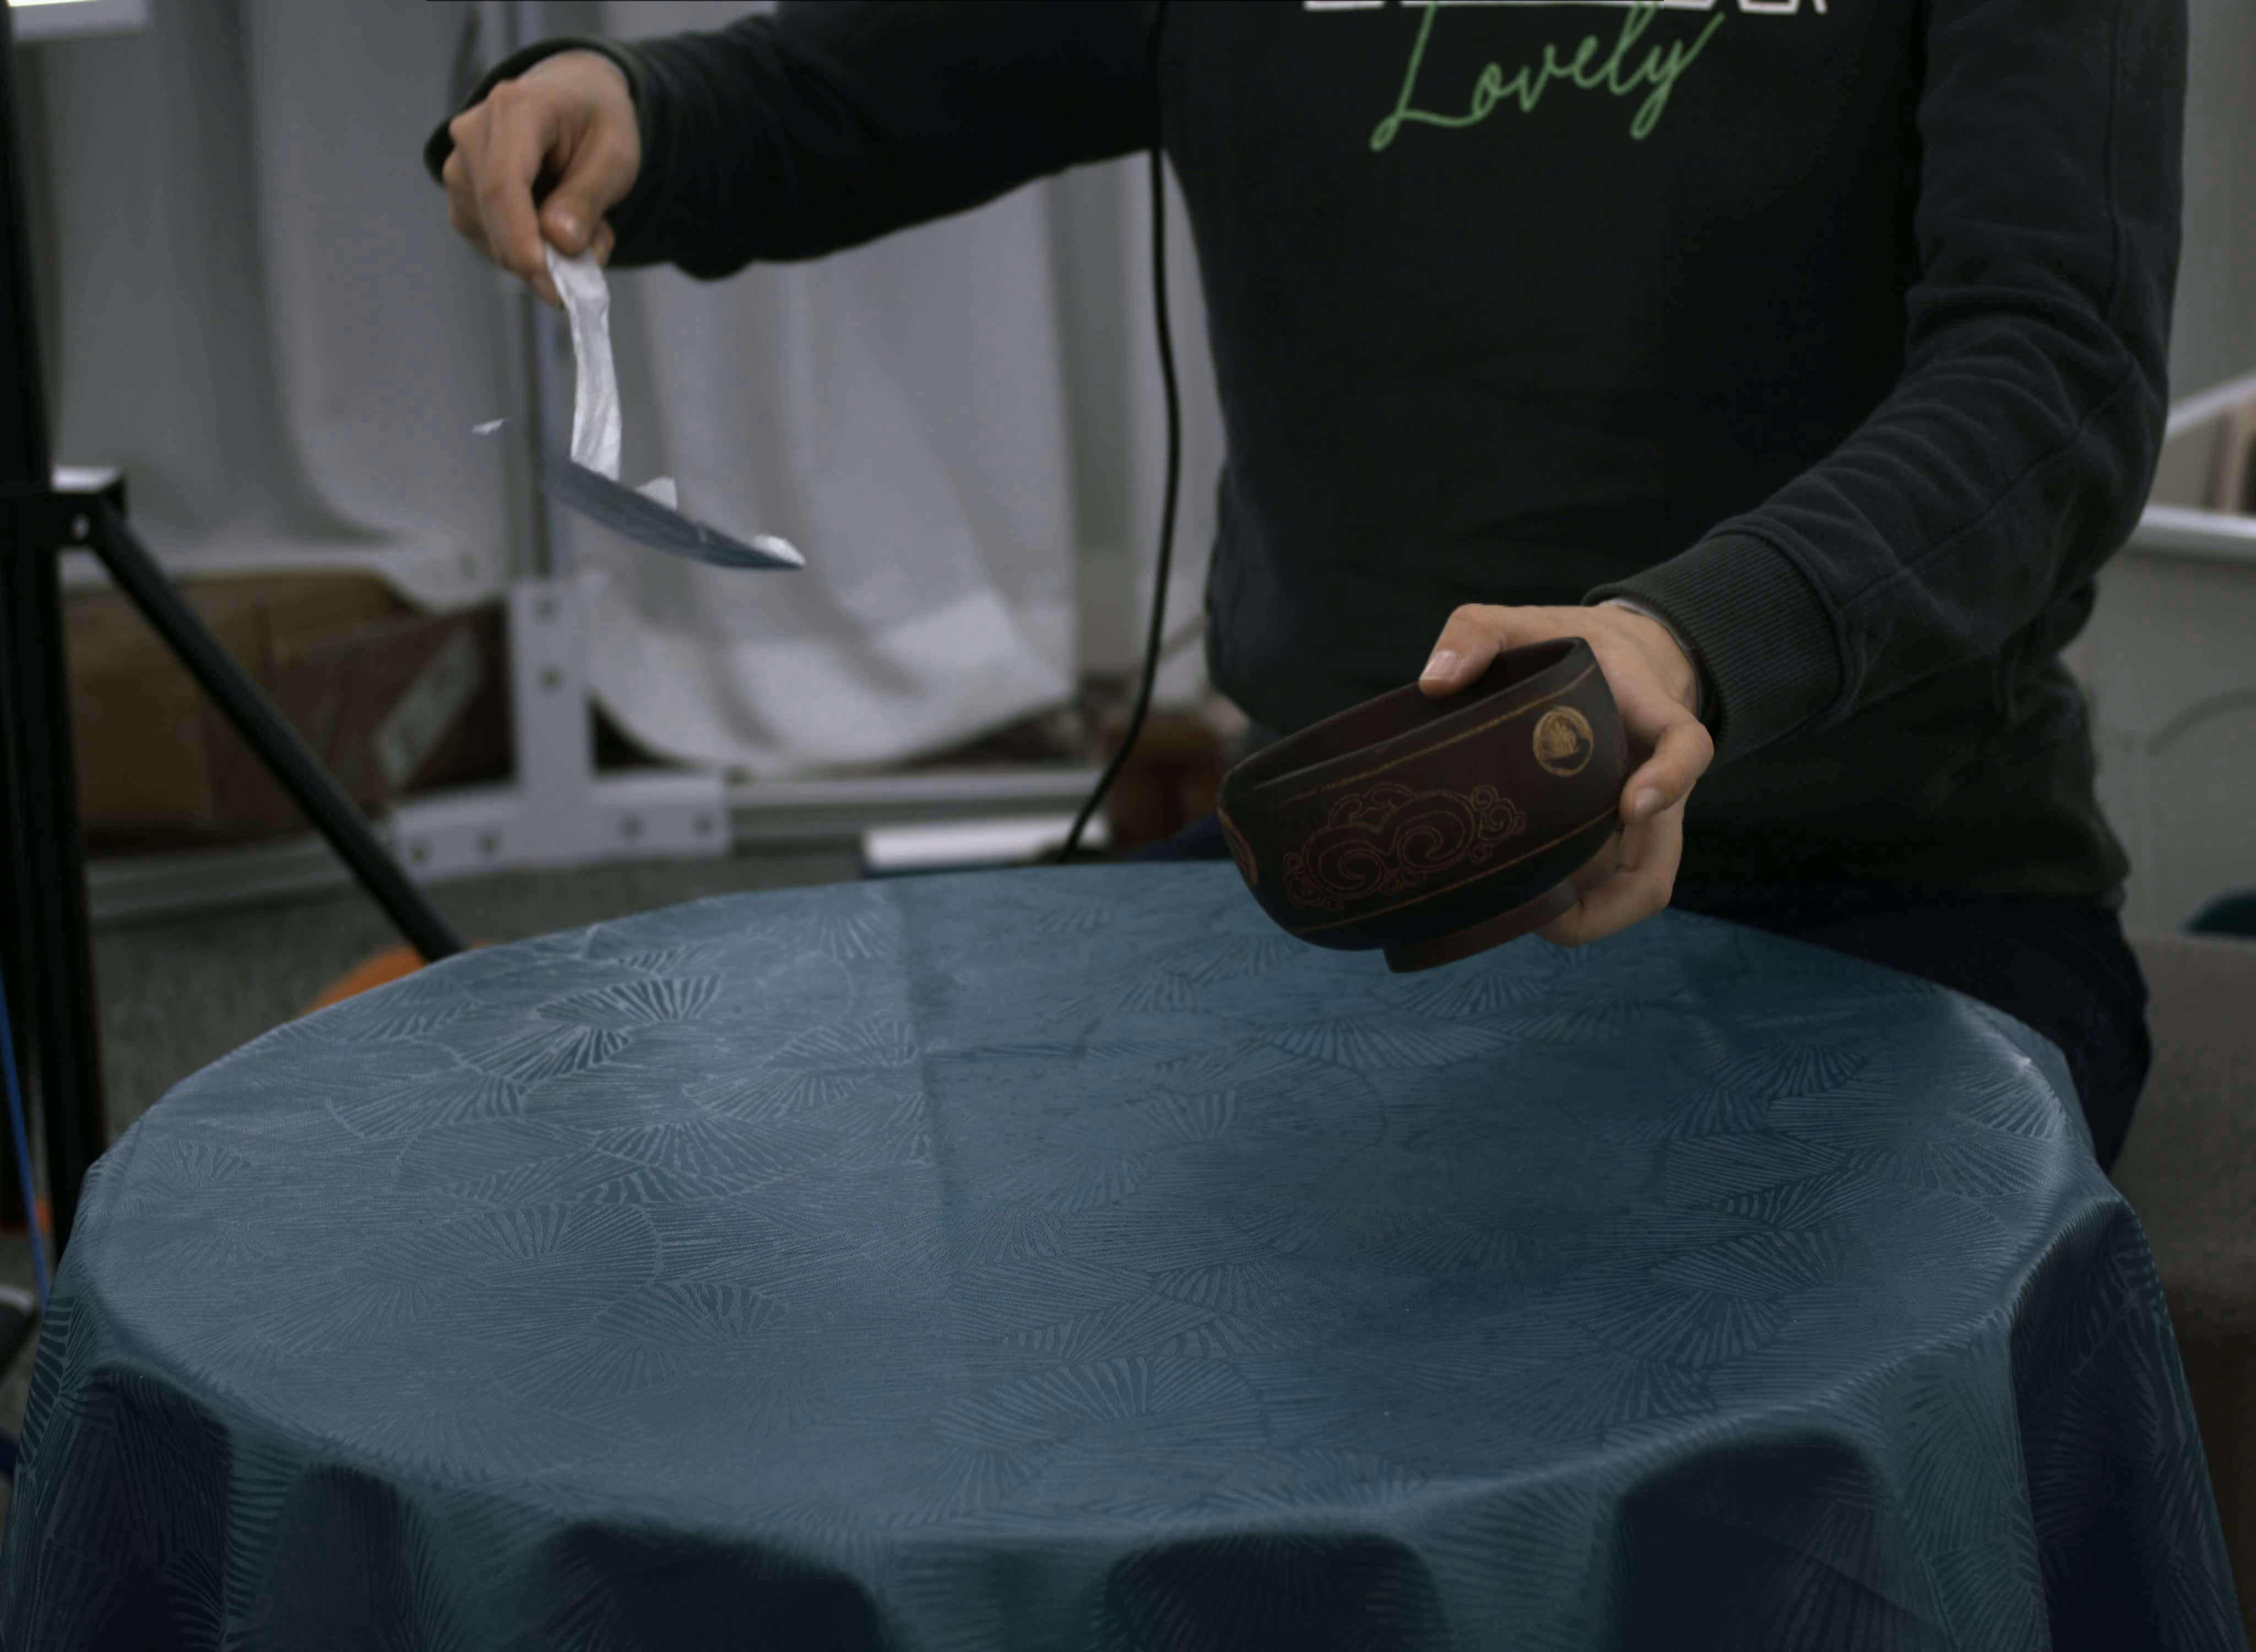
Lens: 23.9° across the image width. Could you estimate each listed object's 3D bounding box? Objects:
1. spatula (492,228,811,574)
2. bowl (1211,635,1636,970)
[{"bbox_3d":[-0.165,-0.149,1.707,0.097,0.045,0.369,24,18,-18],"label":"spatula"},{"bbox_3d":[0.088,-0.001,1.492,0.117,0.070,0.118,-19,6,0],"label":"bowl"}]
